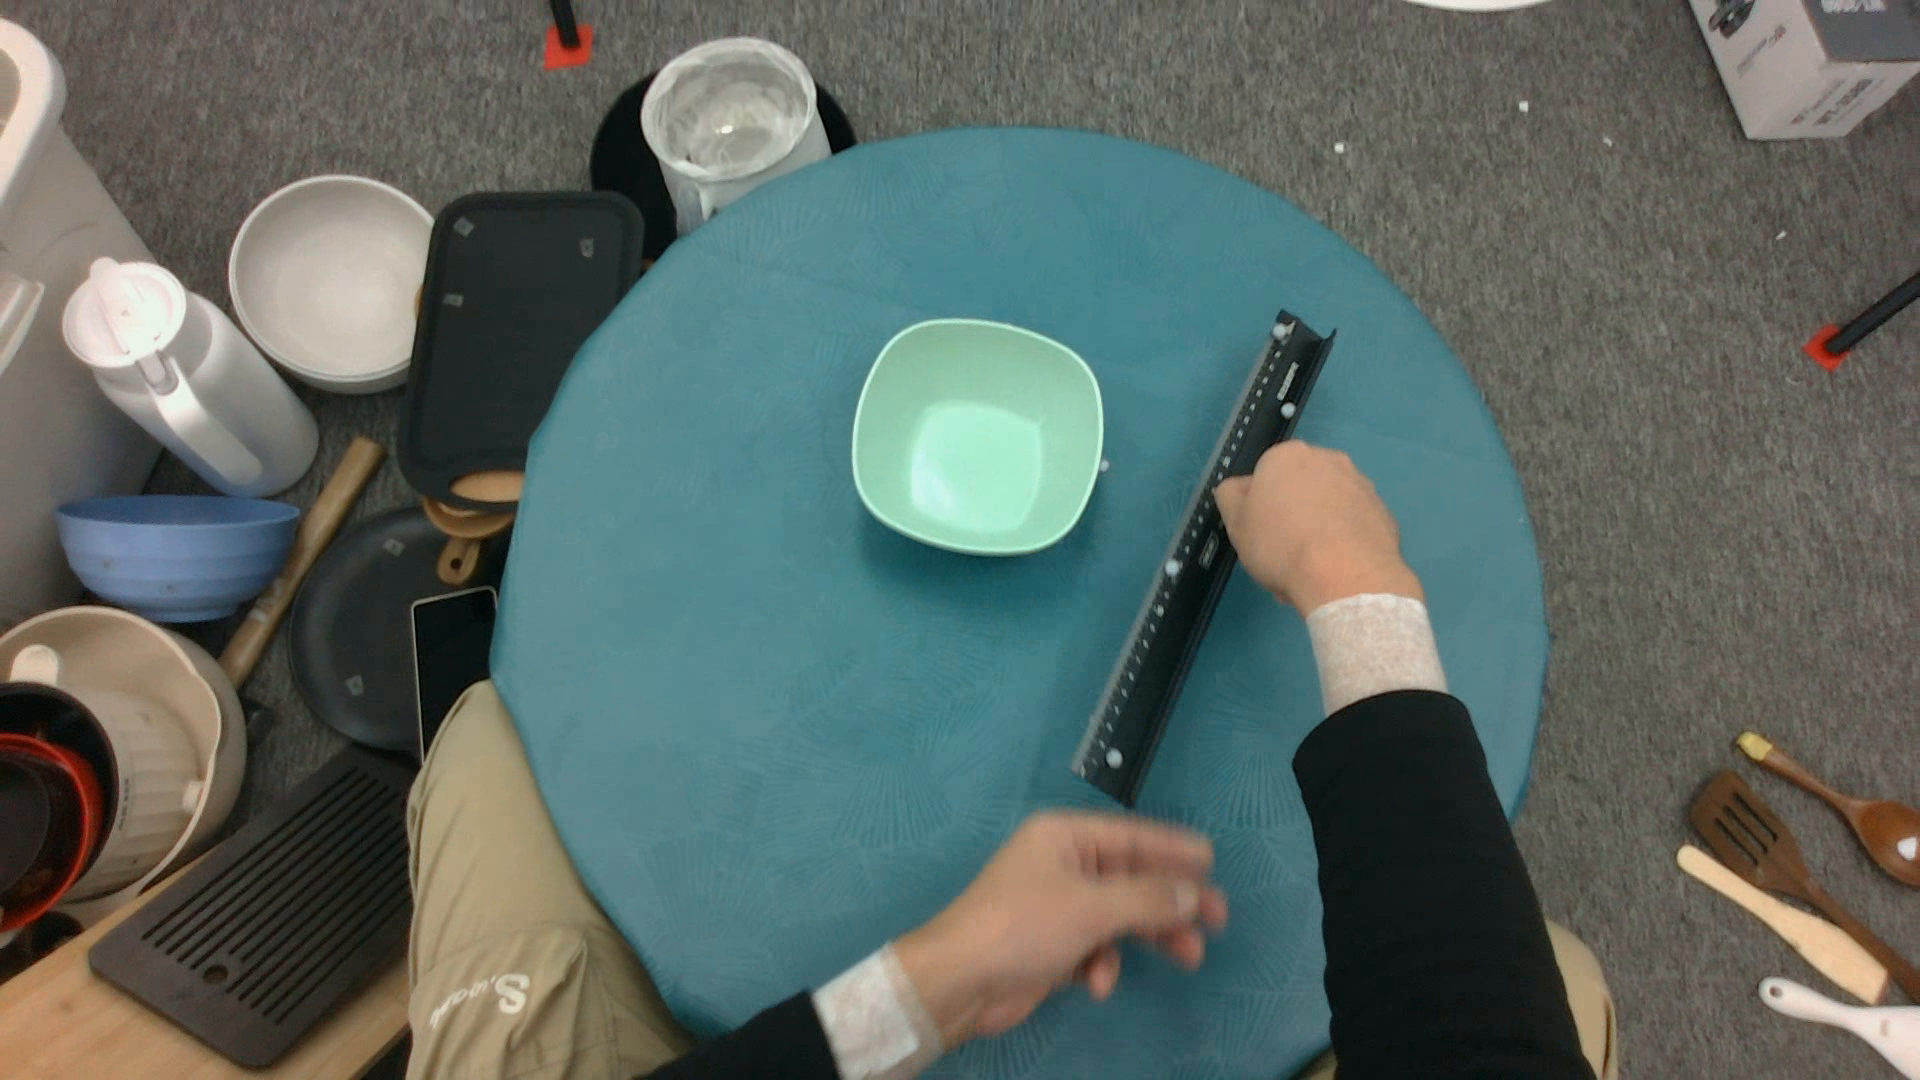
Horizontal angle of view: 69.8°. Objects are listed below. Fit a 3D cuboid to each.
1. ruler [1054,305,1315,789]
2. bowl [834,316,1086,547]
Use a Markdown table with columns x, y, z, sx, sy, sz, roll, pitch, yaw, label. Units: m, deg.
| x | y | z | sx | sy | sz | roll | pitch | yaw | label |
| --- | --- | --- | --- | --- | --- | --- | --- | --- | --- |
| 0.130 | -0.010 | 0.750 | 0.039 | 0.017 | 0.314 | 32 | 64 | -7 | ruler |
| -0.001 | -0.053 | 0.788 | 0.151 | 0.058 | 0.152 | 2 | 67 | -4 | bowl |
